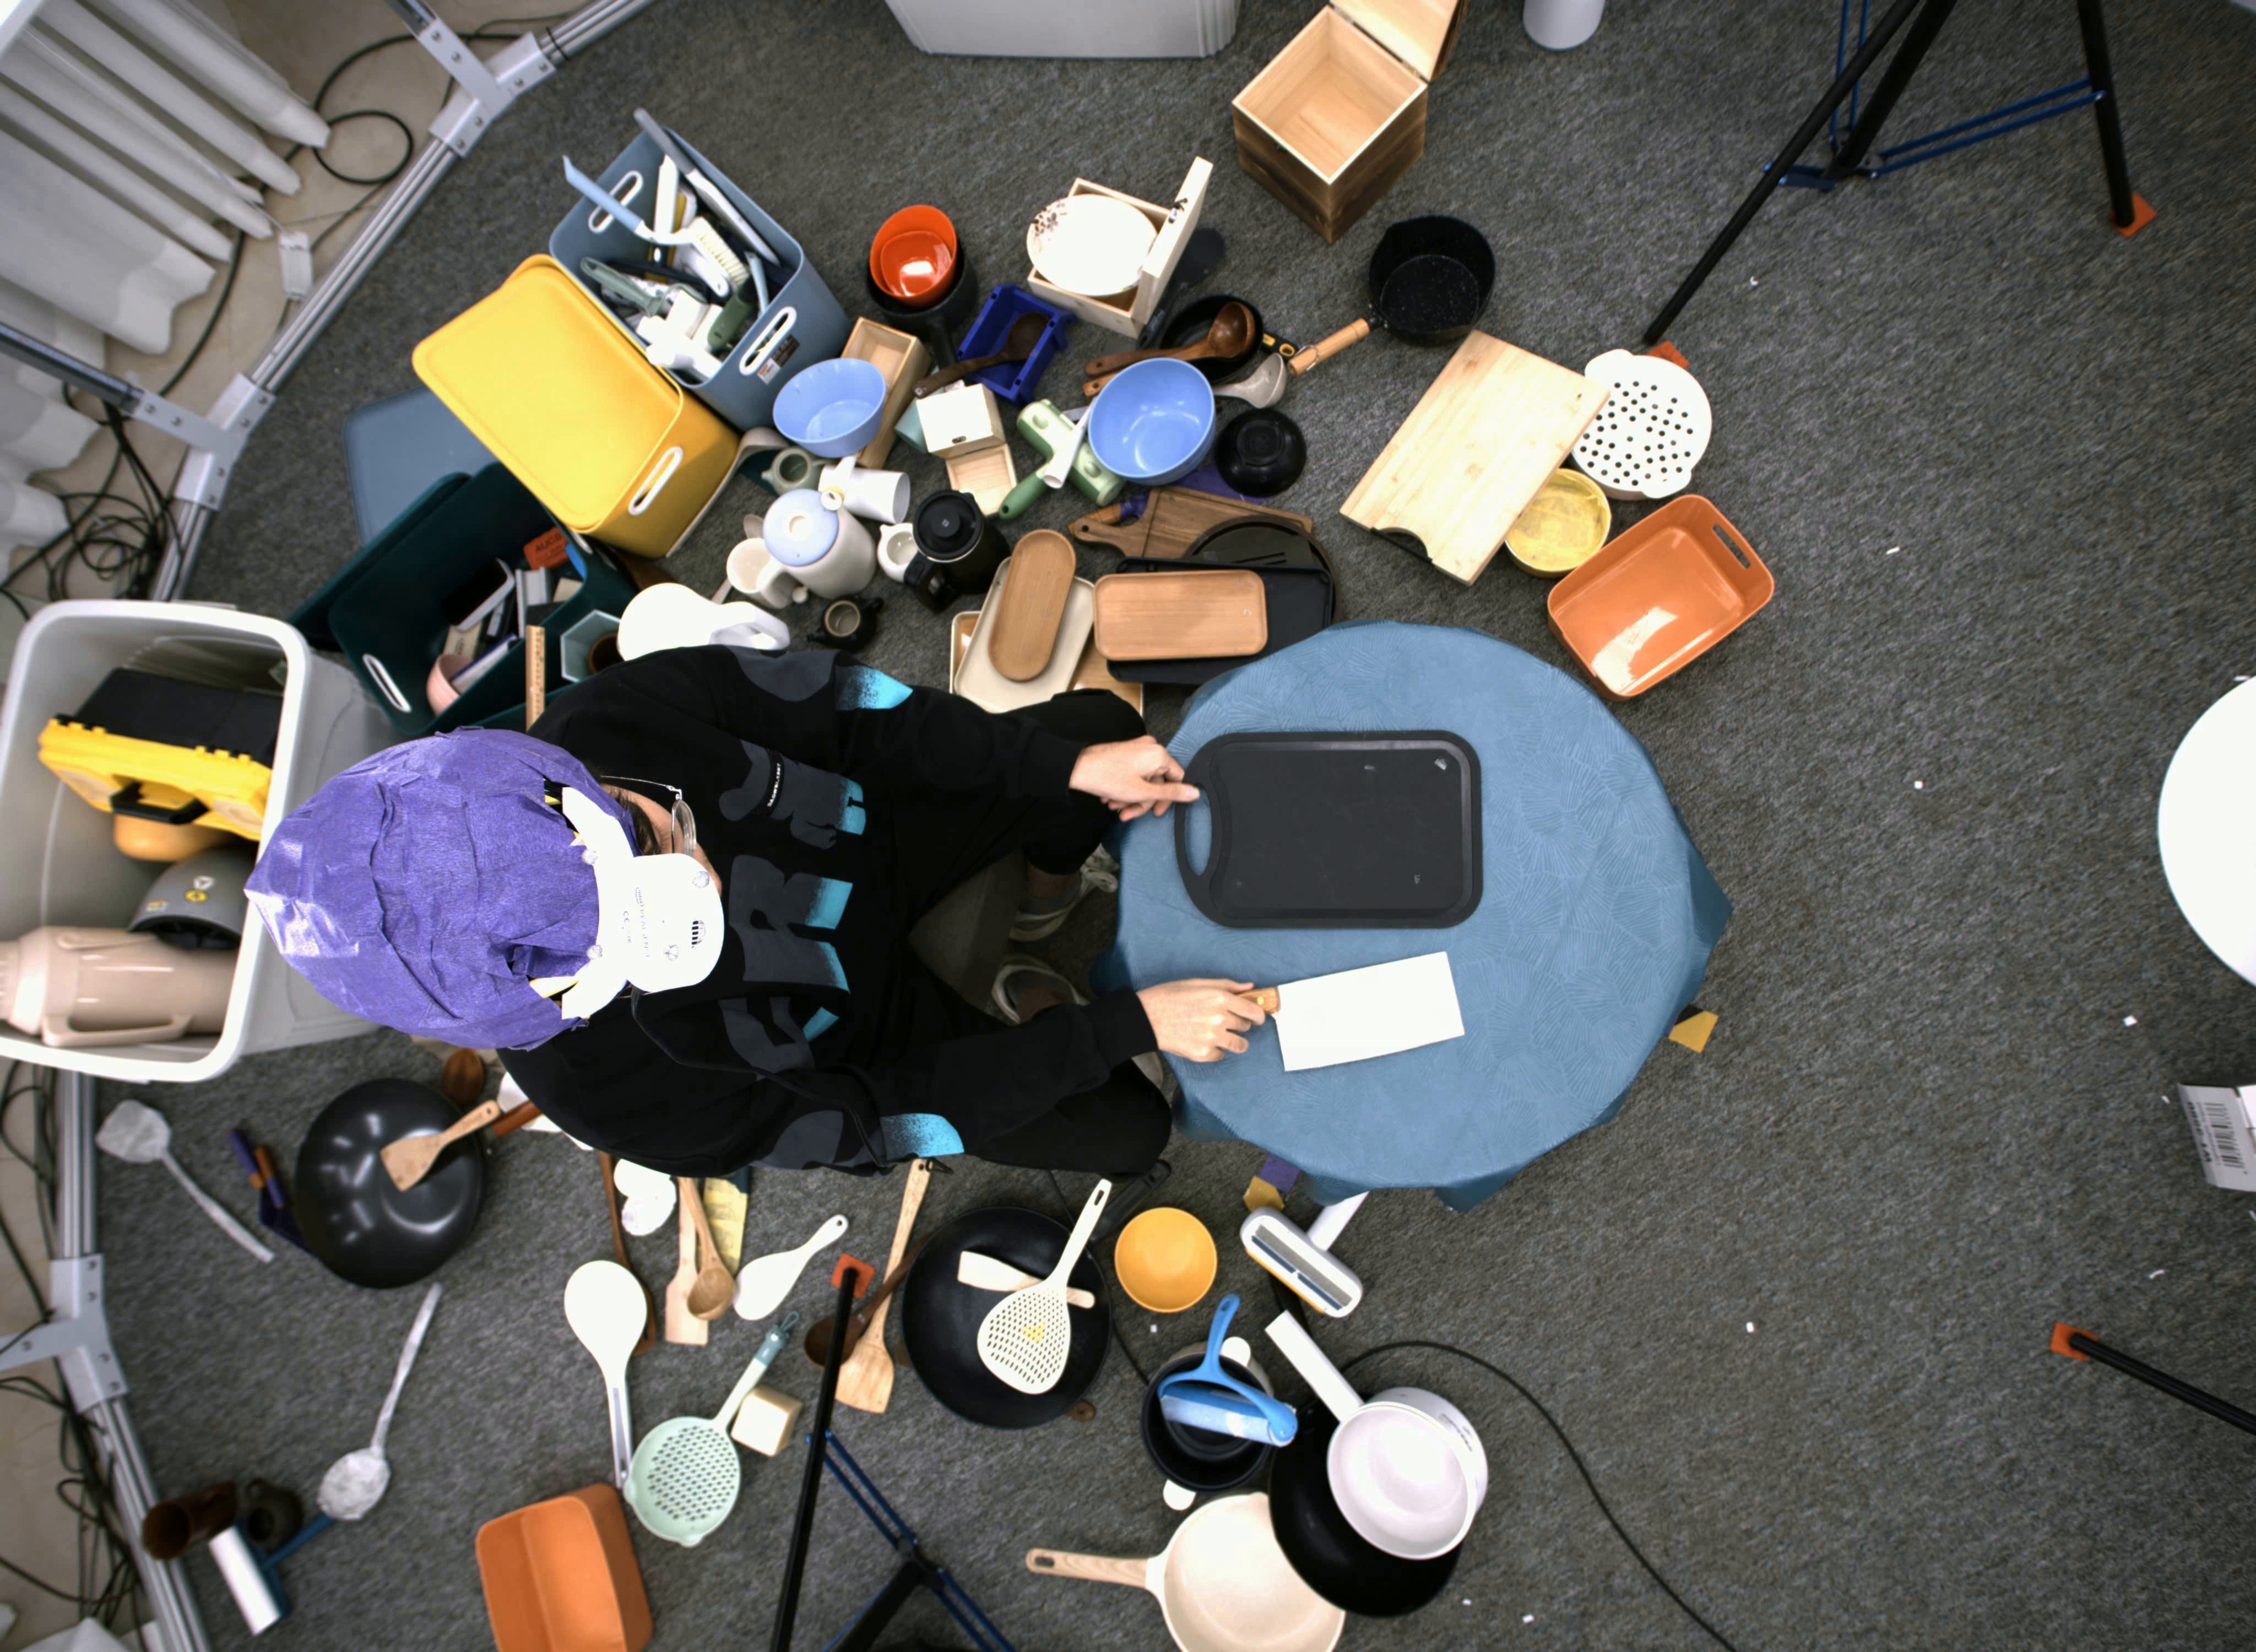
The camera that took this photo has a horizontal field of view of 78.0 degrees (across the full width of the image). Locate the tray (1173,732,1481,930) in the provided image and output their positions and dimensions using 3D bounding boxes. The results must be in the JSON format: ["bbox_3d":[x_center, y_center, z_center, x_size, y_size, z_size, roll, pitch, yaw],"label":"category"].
[{"bbox_3d":[0.209,0.003,1.464,0.326,0.010,0.210,0,88,8],"label":"tray"}]

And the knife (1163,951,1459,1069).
[{"bbox_3d":[0.193,0.202,1.452,0.307,0.021,0.092,-12,85,4],"label":"knife"}]
